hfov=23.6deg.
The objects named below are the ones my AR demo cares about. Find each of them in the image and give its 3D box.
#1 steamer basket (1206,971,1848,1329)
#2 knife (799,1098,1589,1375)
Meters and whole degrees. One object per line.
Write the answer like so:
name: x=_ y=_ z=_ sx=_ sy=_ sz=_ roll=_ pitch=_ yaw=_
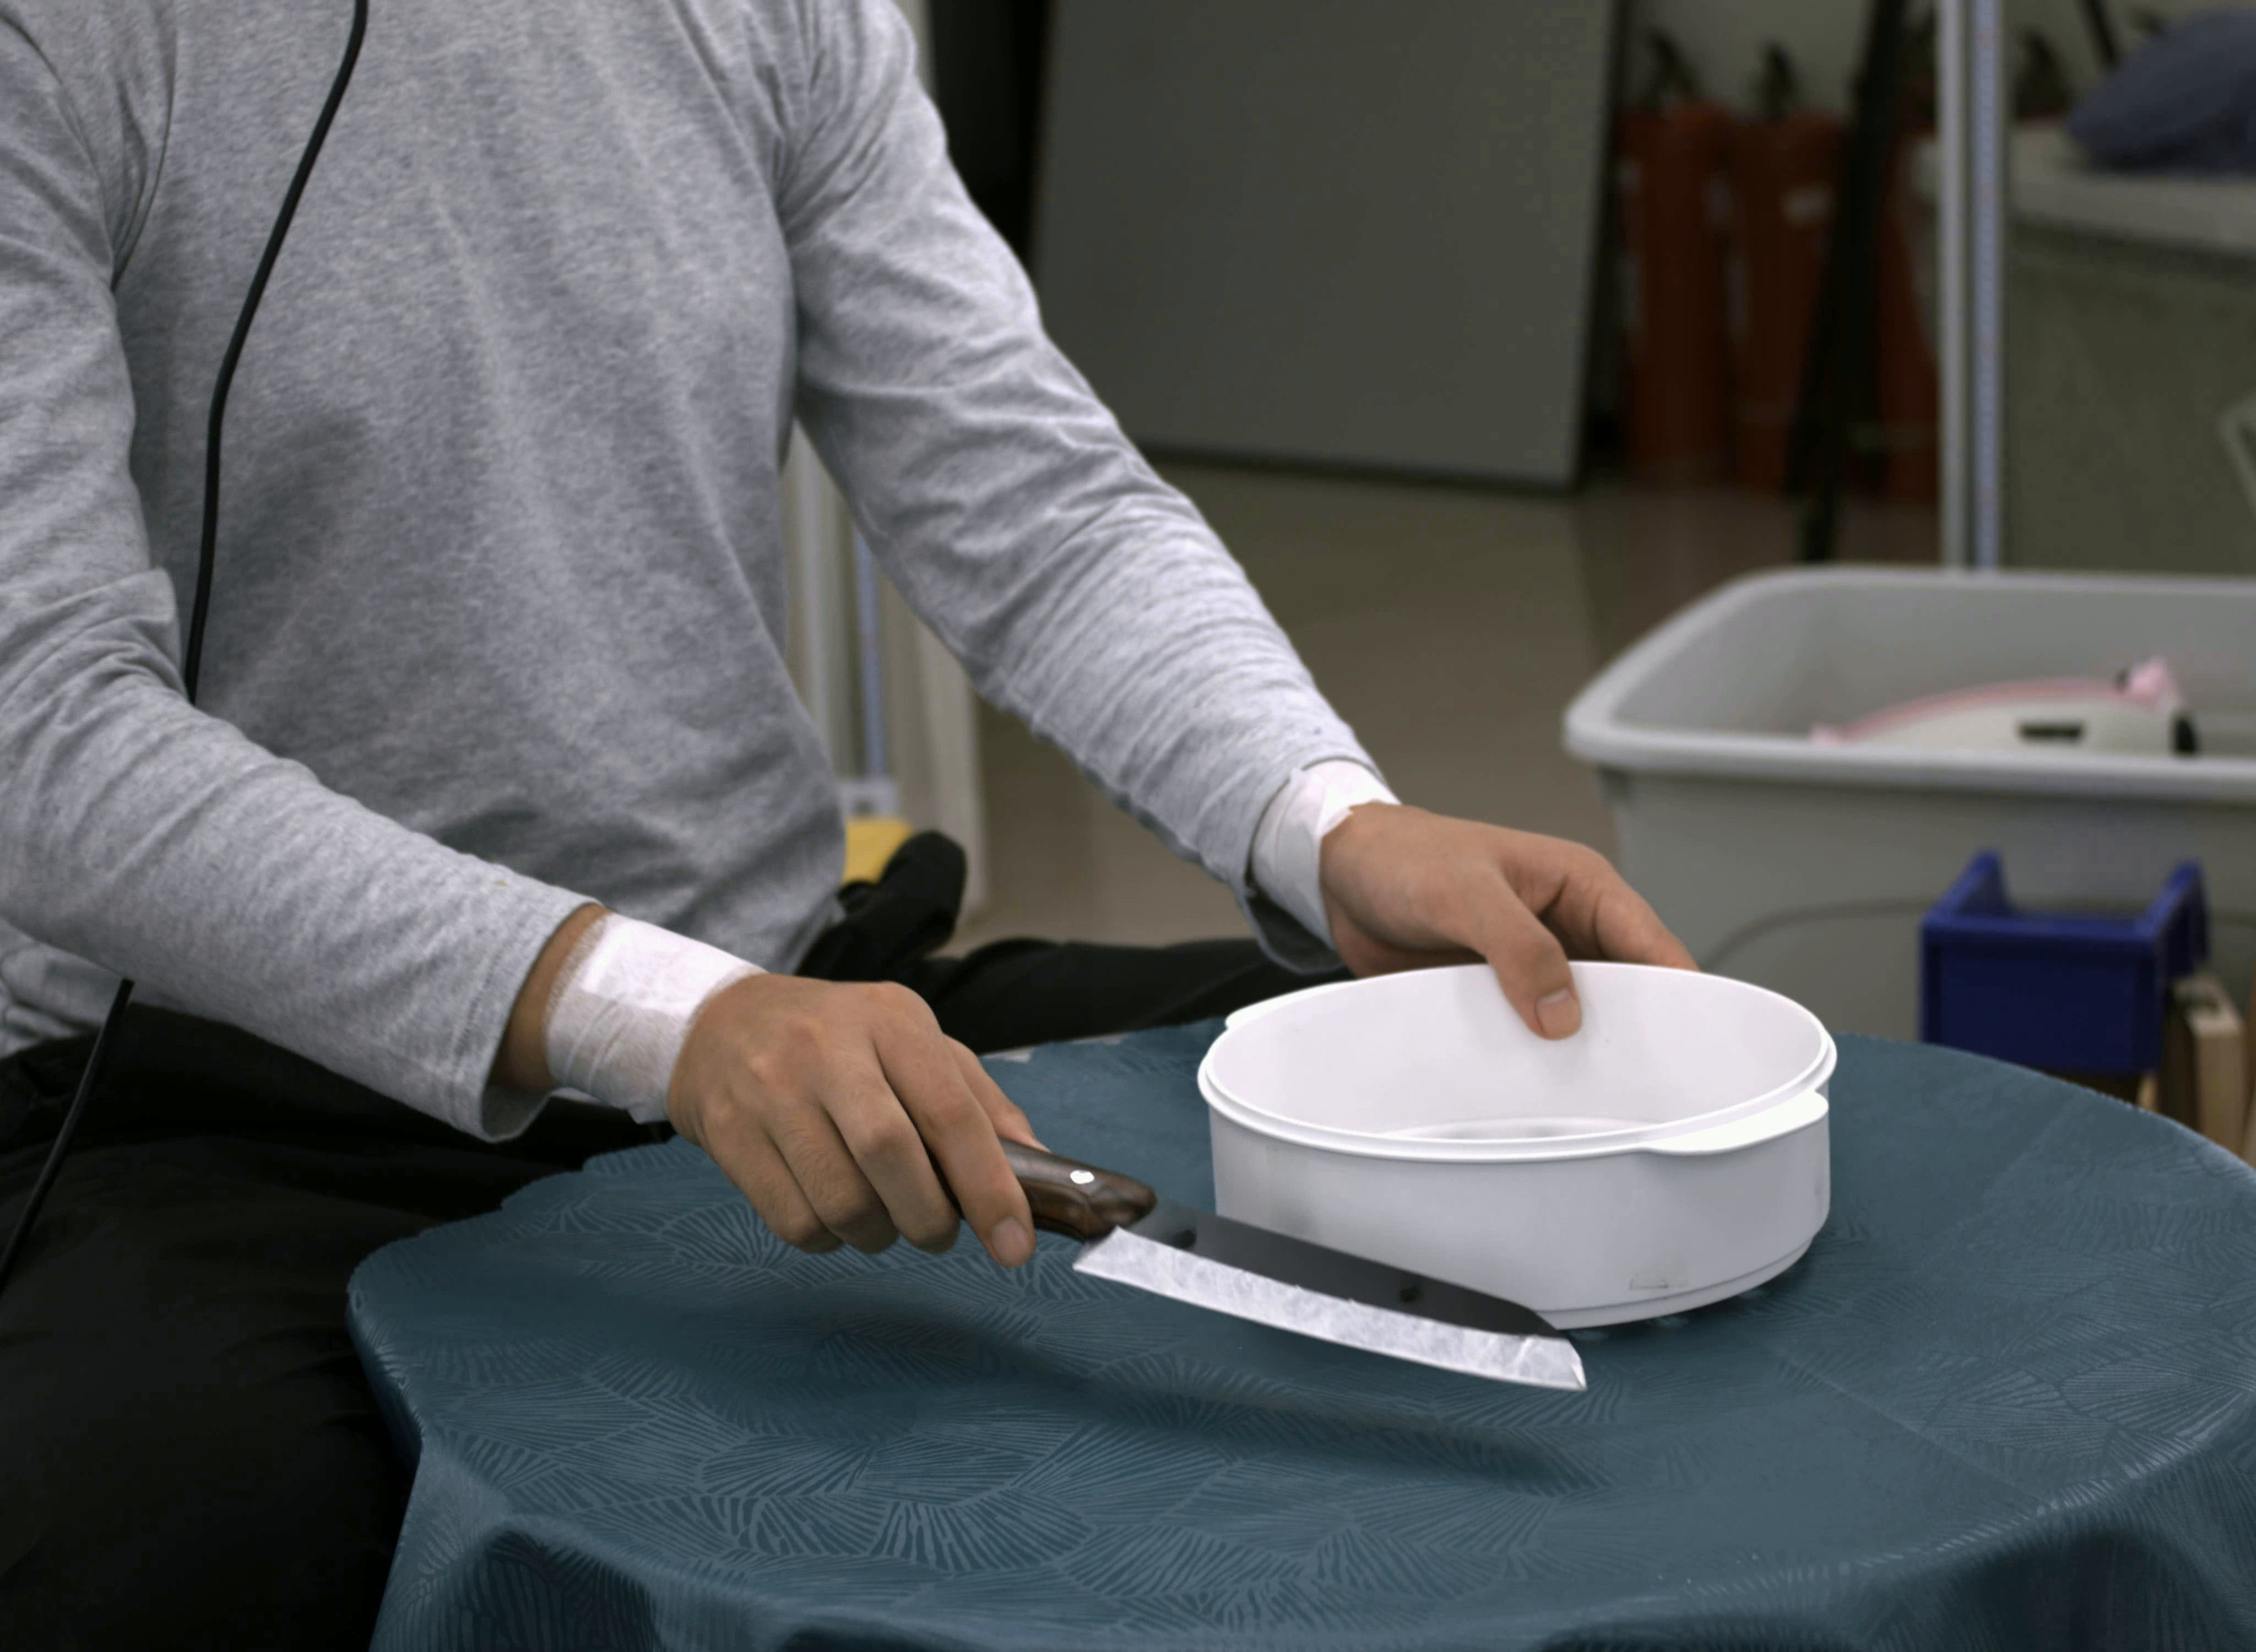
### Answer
steamer basket: x=0.125 y=0.101 z=1.678 sx=0.197 sy=0.070 sz=0.233 roll=-13 pitch=15 yaw=-36
knife: x=0.014 y=0.121 z=1.577 sx=0.291 sy=0.020 sz=0.049 roll=14 pitch=34 yaw=36
